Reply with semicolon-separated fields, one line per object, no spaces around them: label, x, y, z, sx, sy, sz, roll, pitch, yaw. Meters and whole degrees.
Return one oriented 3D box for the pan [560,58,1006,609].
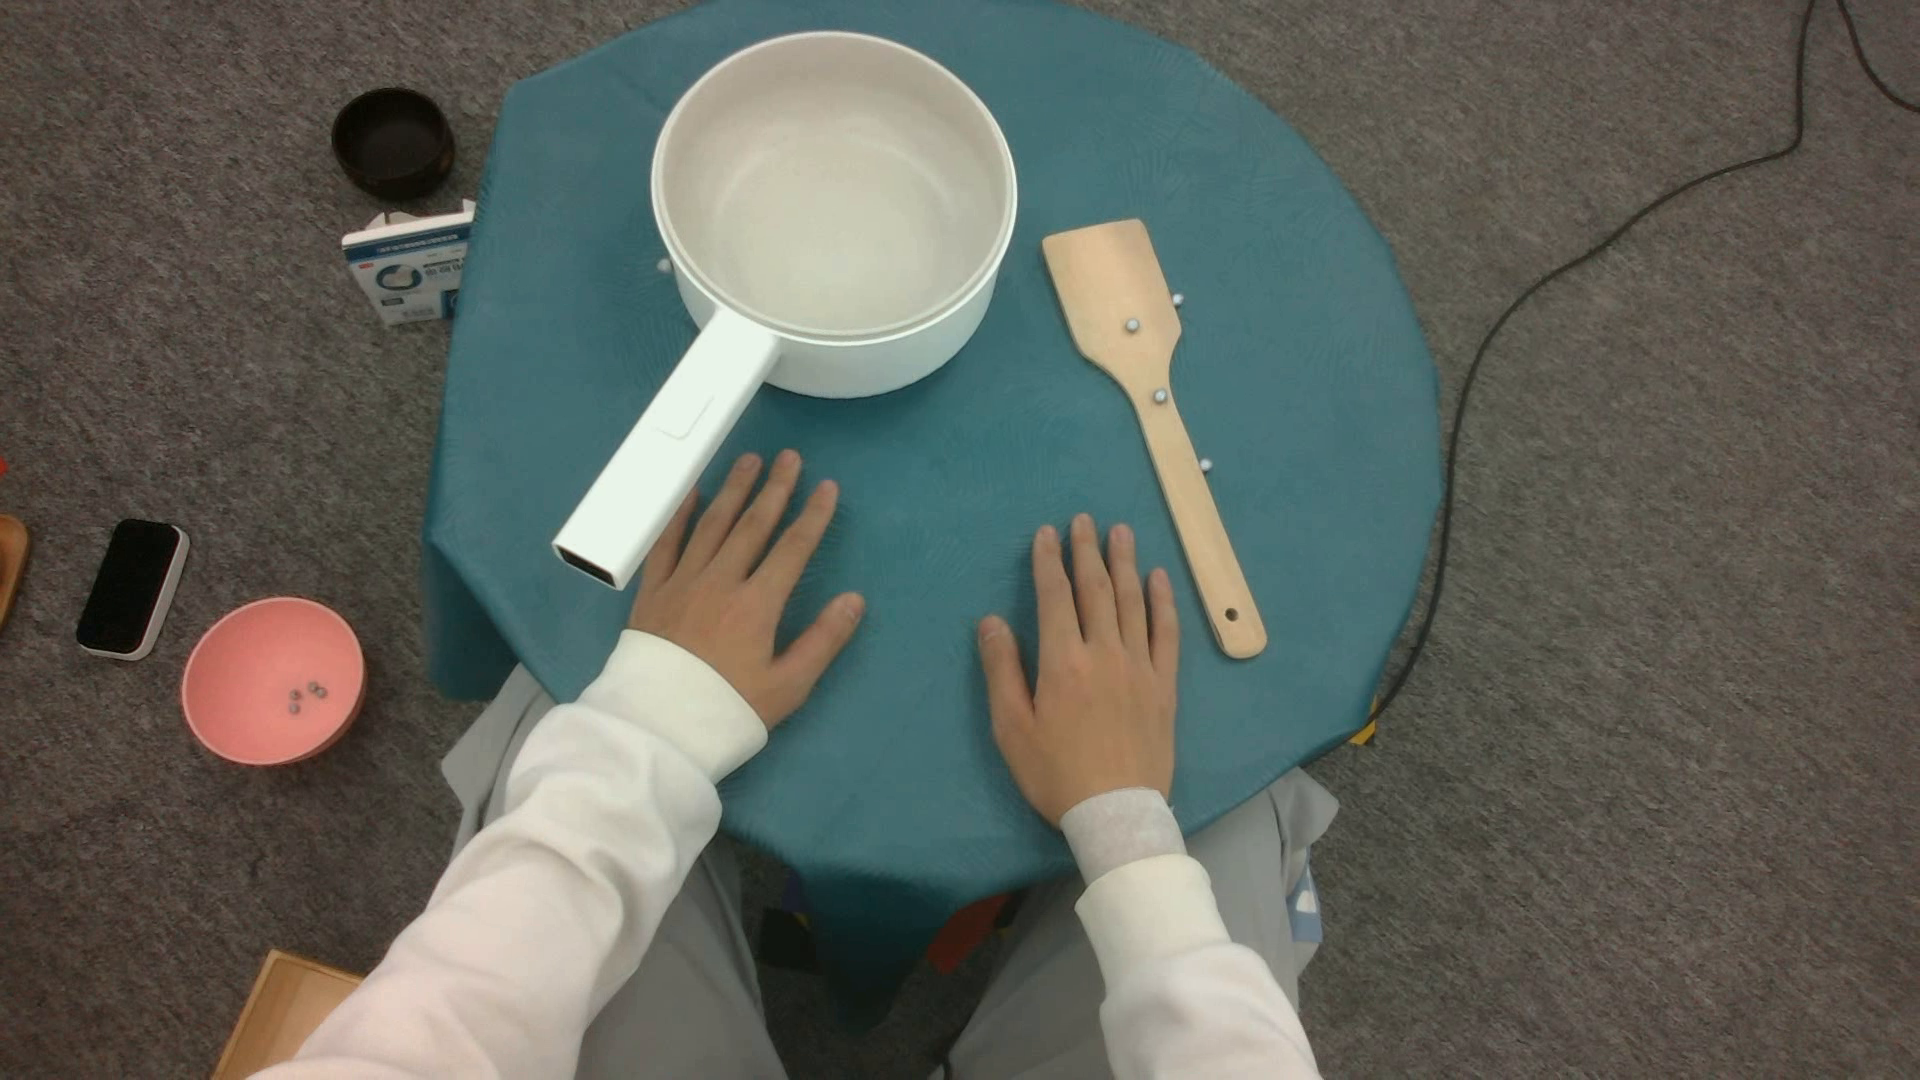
pan;-0.110;-0.111;0.794;0.201;0.102;0.356;26;70;5

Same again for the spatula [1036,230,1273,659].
spatula;0.126;-0.063;0.840;0.072;0.010;0.293;-15;70;-12
